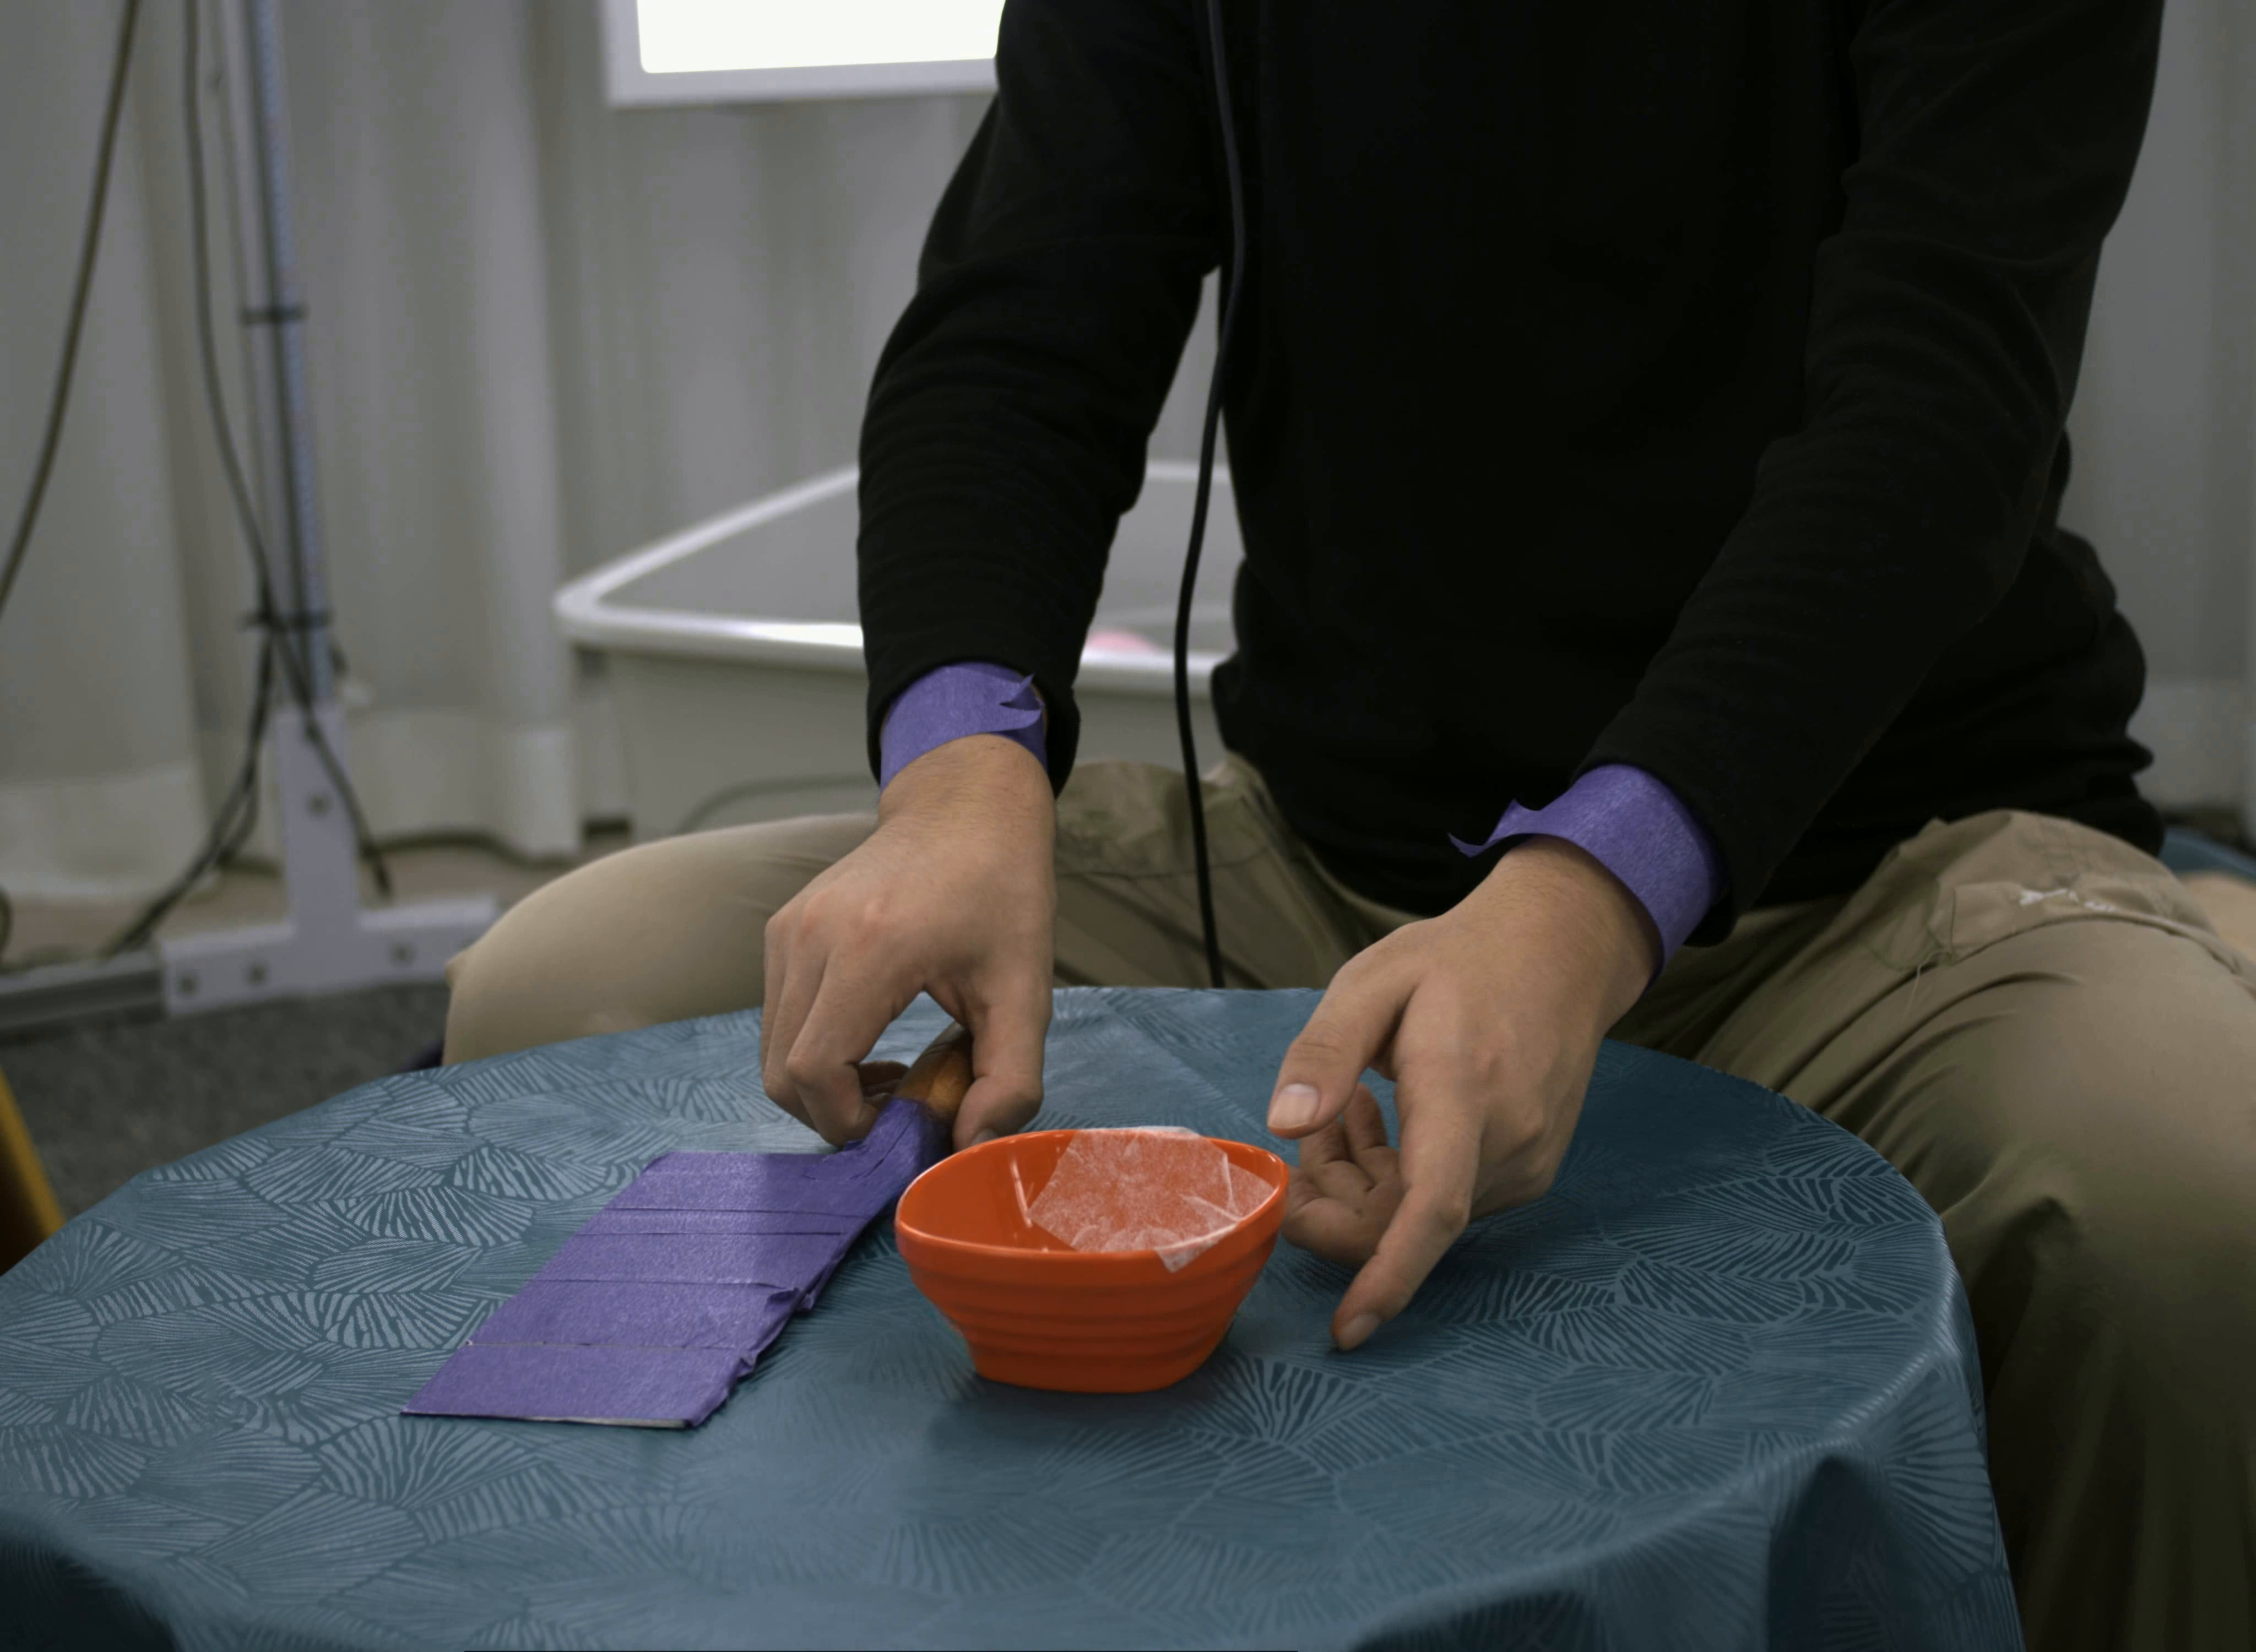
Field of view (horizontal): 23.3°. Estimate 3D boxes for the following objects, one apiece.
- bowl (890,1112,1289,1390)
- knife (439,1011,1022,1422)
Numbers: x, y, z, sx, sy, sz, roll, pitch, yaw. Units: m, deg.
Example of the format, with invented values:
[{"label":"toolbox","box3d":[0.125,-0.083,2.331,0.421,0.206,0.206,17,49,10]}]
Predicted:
[{"label":"bowl","box3d":[-0.009,0.125,1.568,0.118,0.051,0.120,-5,17,1]},{"label":"knife","box3d":[-0.119,0.117,1.679,0.104,0.032,0.316,2,16,16]}]
